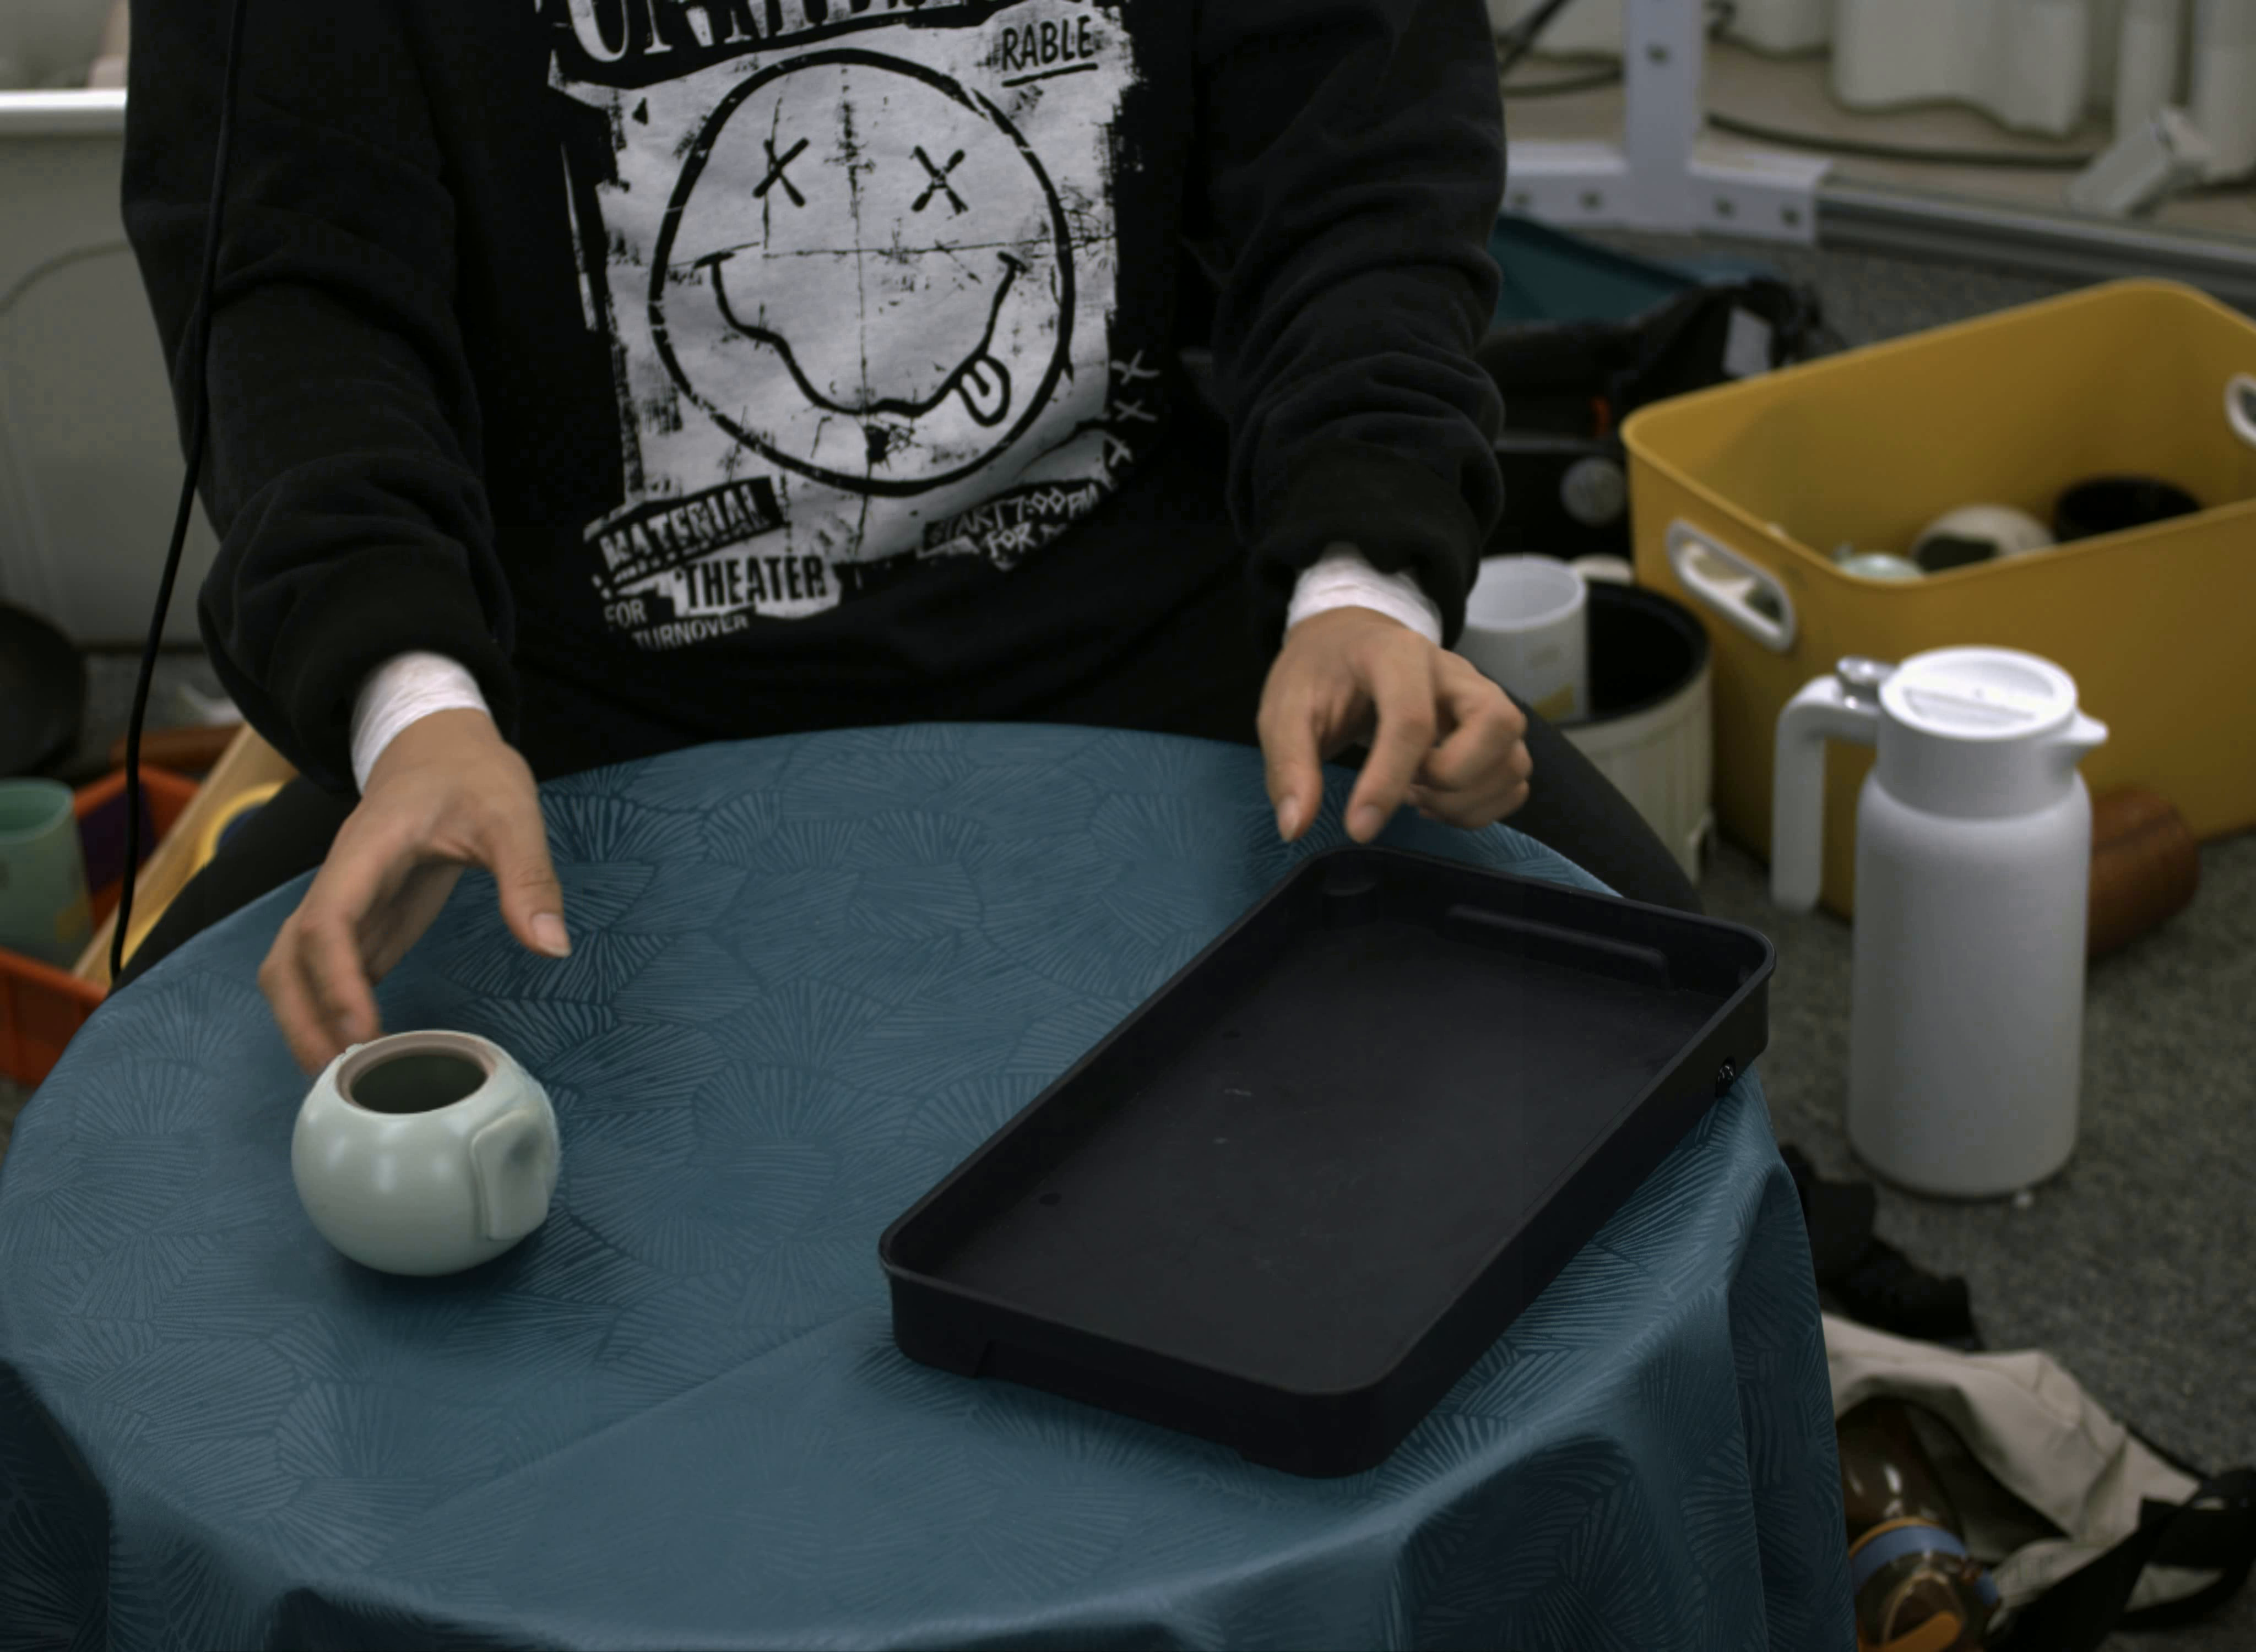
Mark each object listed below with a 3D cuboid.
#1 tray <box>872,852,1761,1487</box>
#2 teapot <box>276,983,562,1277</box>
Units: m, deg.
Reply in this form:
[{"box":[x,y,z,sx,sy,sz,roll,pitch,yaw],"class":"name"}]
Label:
[{"box":[0.068,0.105,1.846,0.183,0.036,0.323,12,31,26],"class":"tray"},{"box":[-0.229,0.106,1.833,0.089,0.074,0.144,-24,35,-36],"class":"teapot"}]
